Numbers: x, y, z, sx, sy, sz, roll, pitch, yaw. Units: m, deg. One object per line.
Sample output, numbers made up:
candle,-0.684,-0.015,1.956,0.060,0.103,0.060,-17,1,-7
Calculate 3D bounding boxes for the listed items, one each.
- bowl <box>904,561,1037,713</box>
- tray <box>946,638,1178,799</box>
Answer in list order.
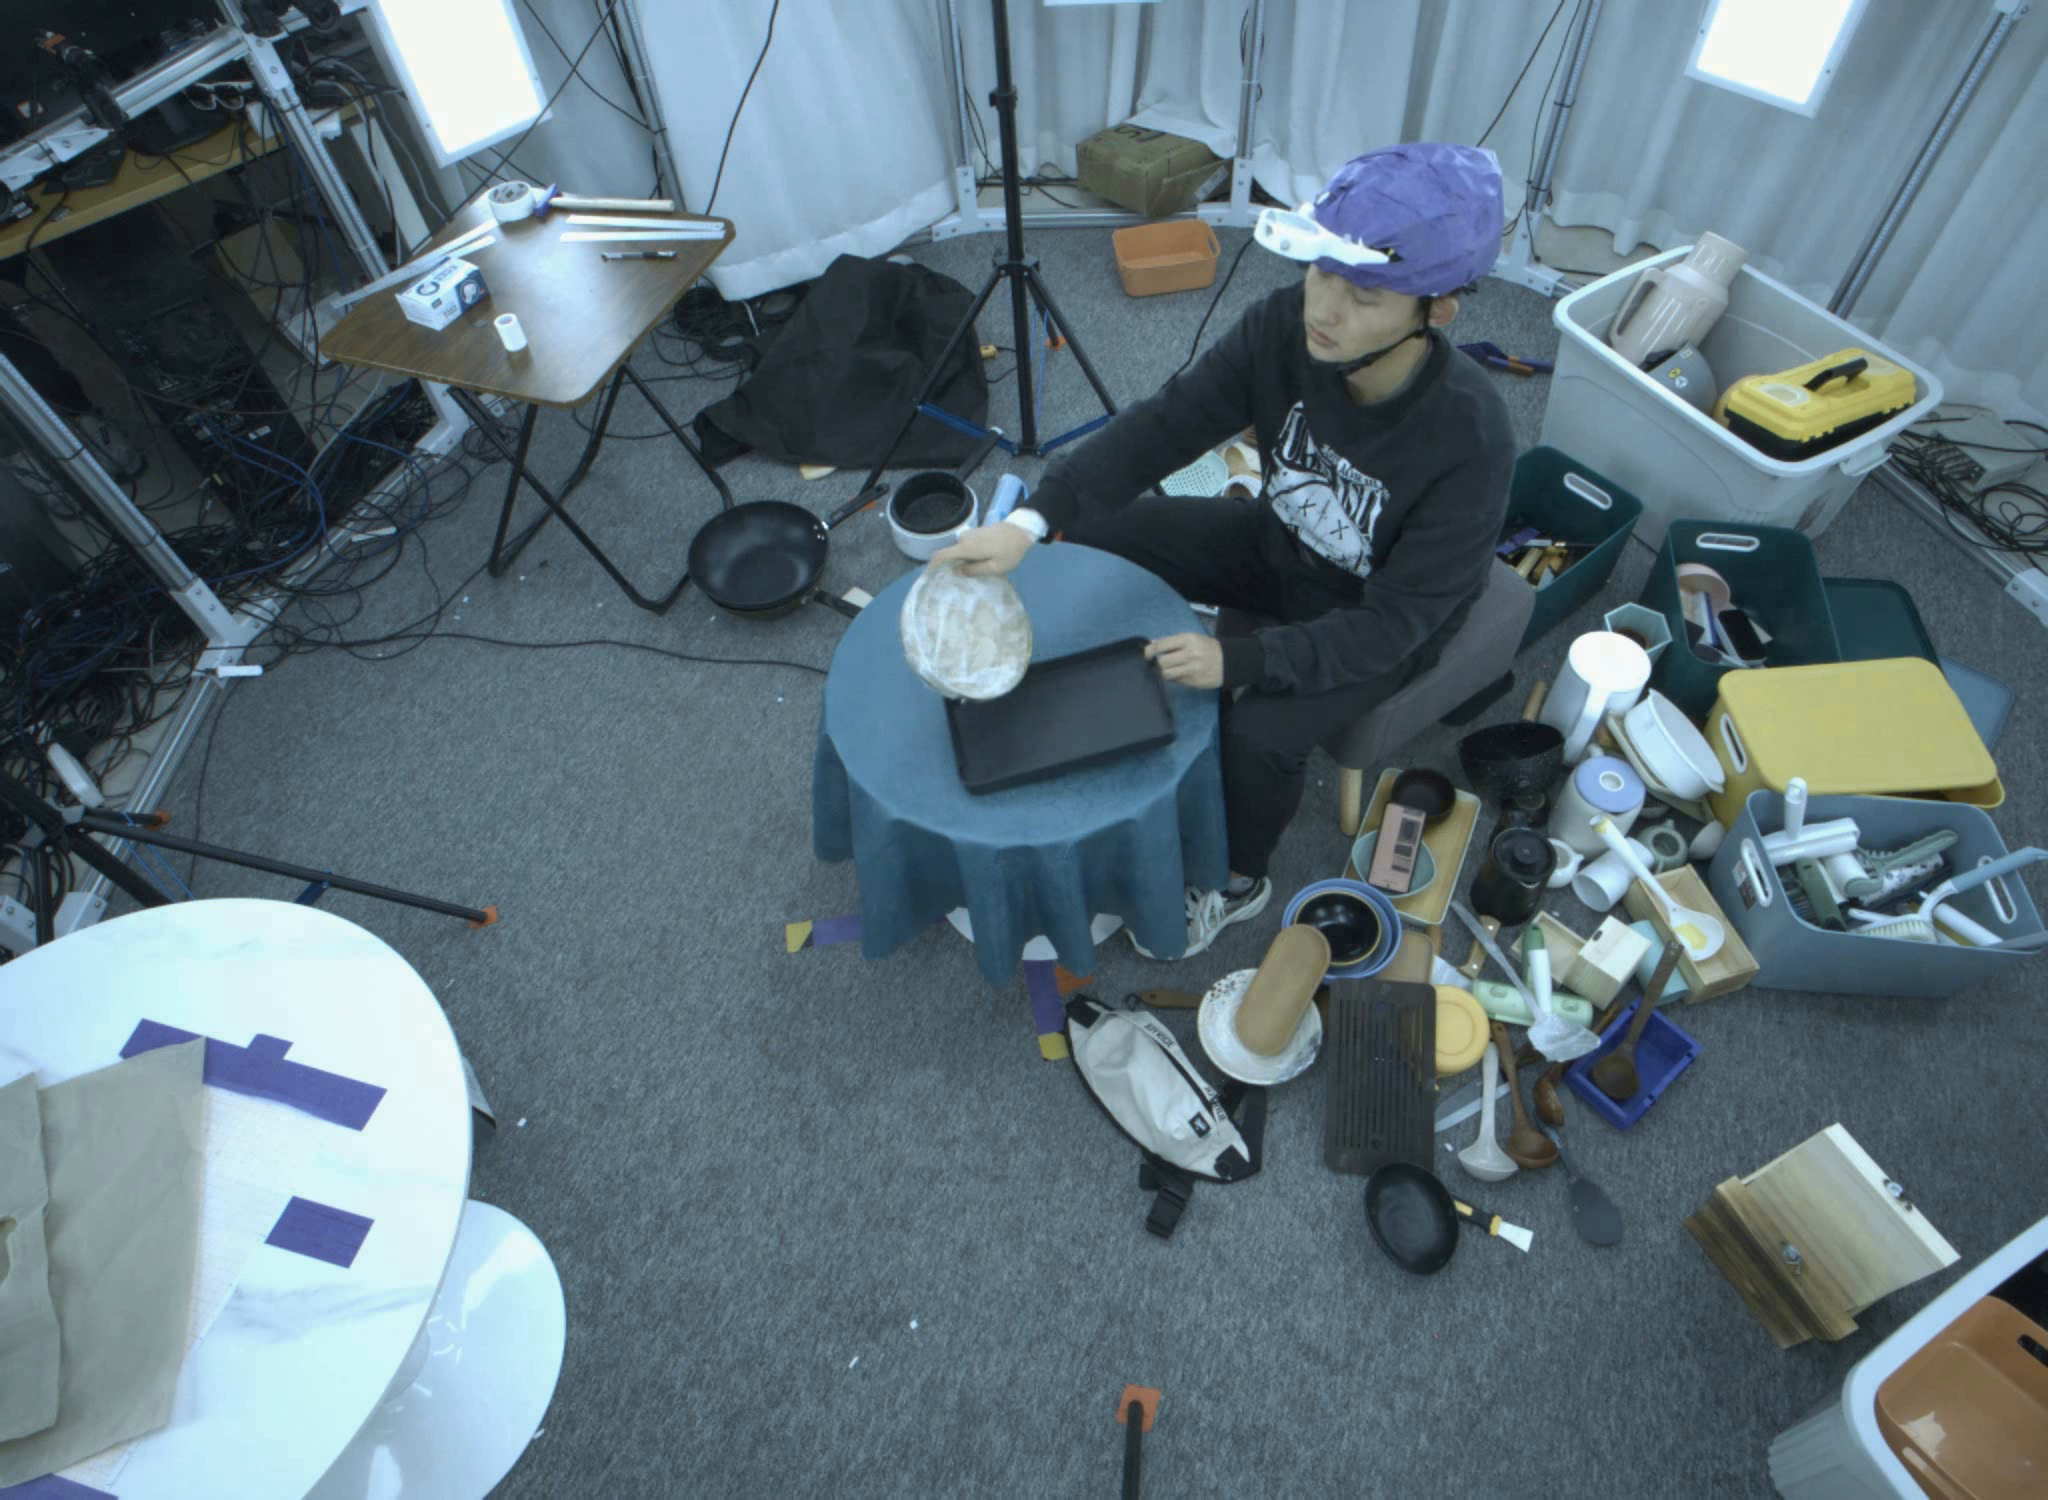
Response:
bowl,-0.088,-0.149,1.709,0.093,0.219,0.214,-14,41,48
tray,0.053,-0.046,1.780,0.317,0.037,0.182,-14,58,3
